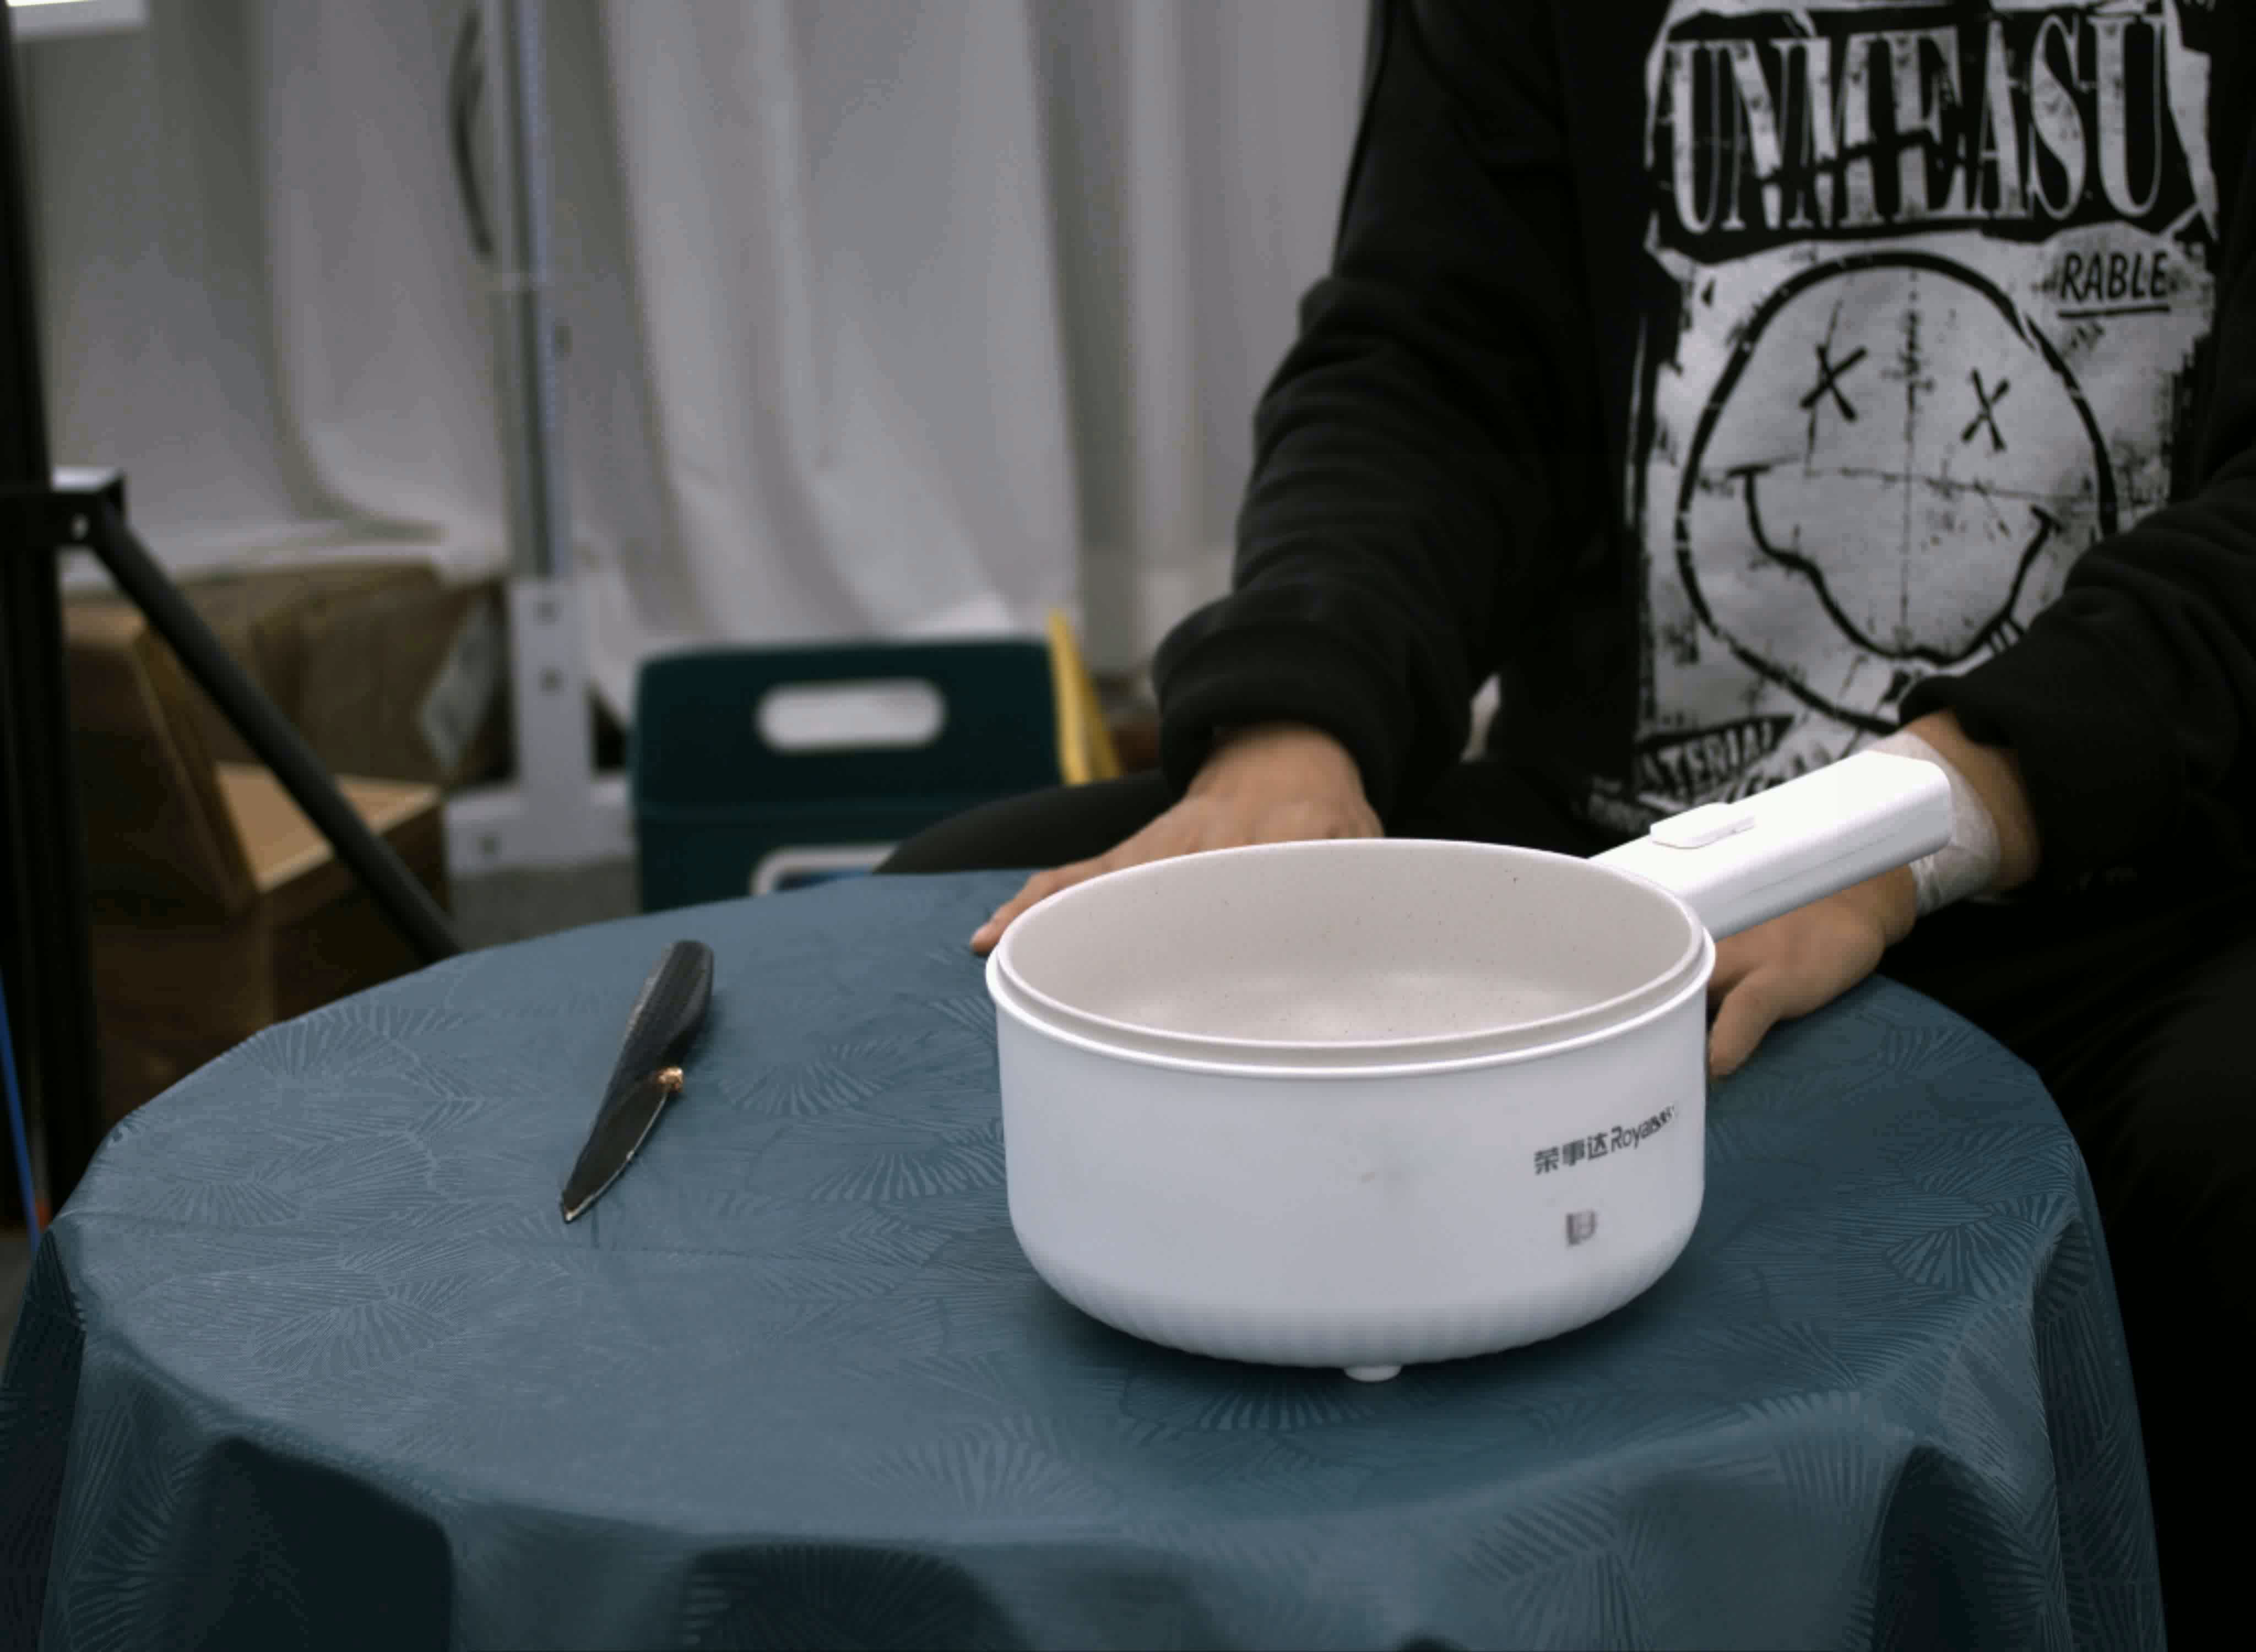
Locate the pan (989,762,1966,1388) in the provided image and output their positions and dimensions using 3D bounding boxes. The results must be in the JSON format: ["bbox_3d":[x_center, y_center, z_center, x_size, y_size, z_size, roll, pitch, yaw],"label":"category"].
[{"bbox_3d":[0.117,0.064,1.514,0.346,0.102,0.206,-16,19,-42],"label":"pan"}]

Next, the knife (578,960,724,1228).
[{"bbox_3d":[-0.151,0.082,1.656,0.026,0.017,0.225,12,18,1],"label":"knife"}]
